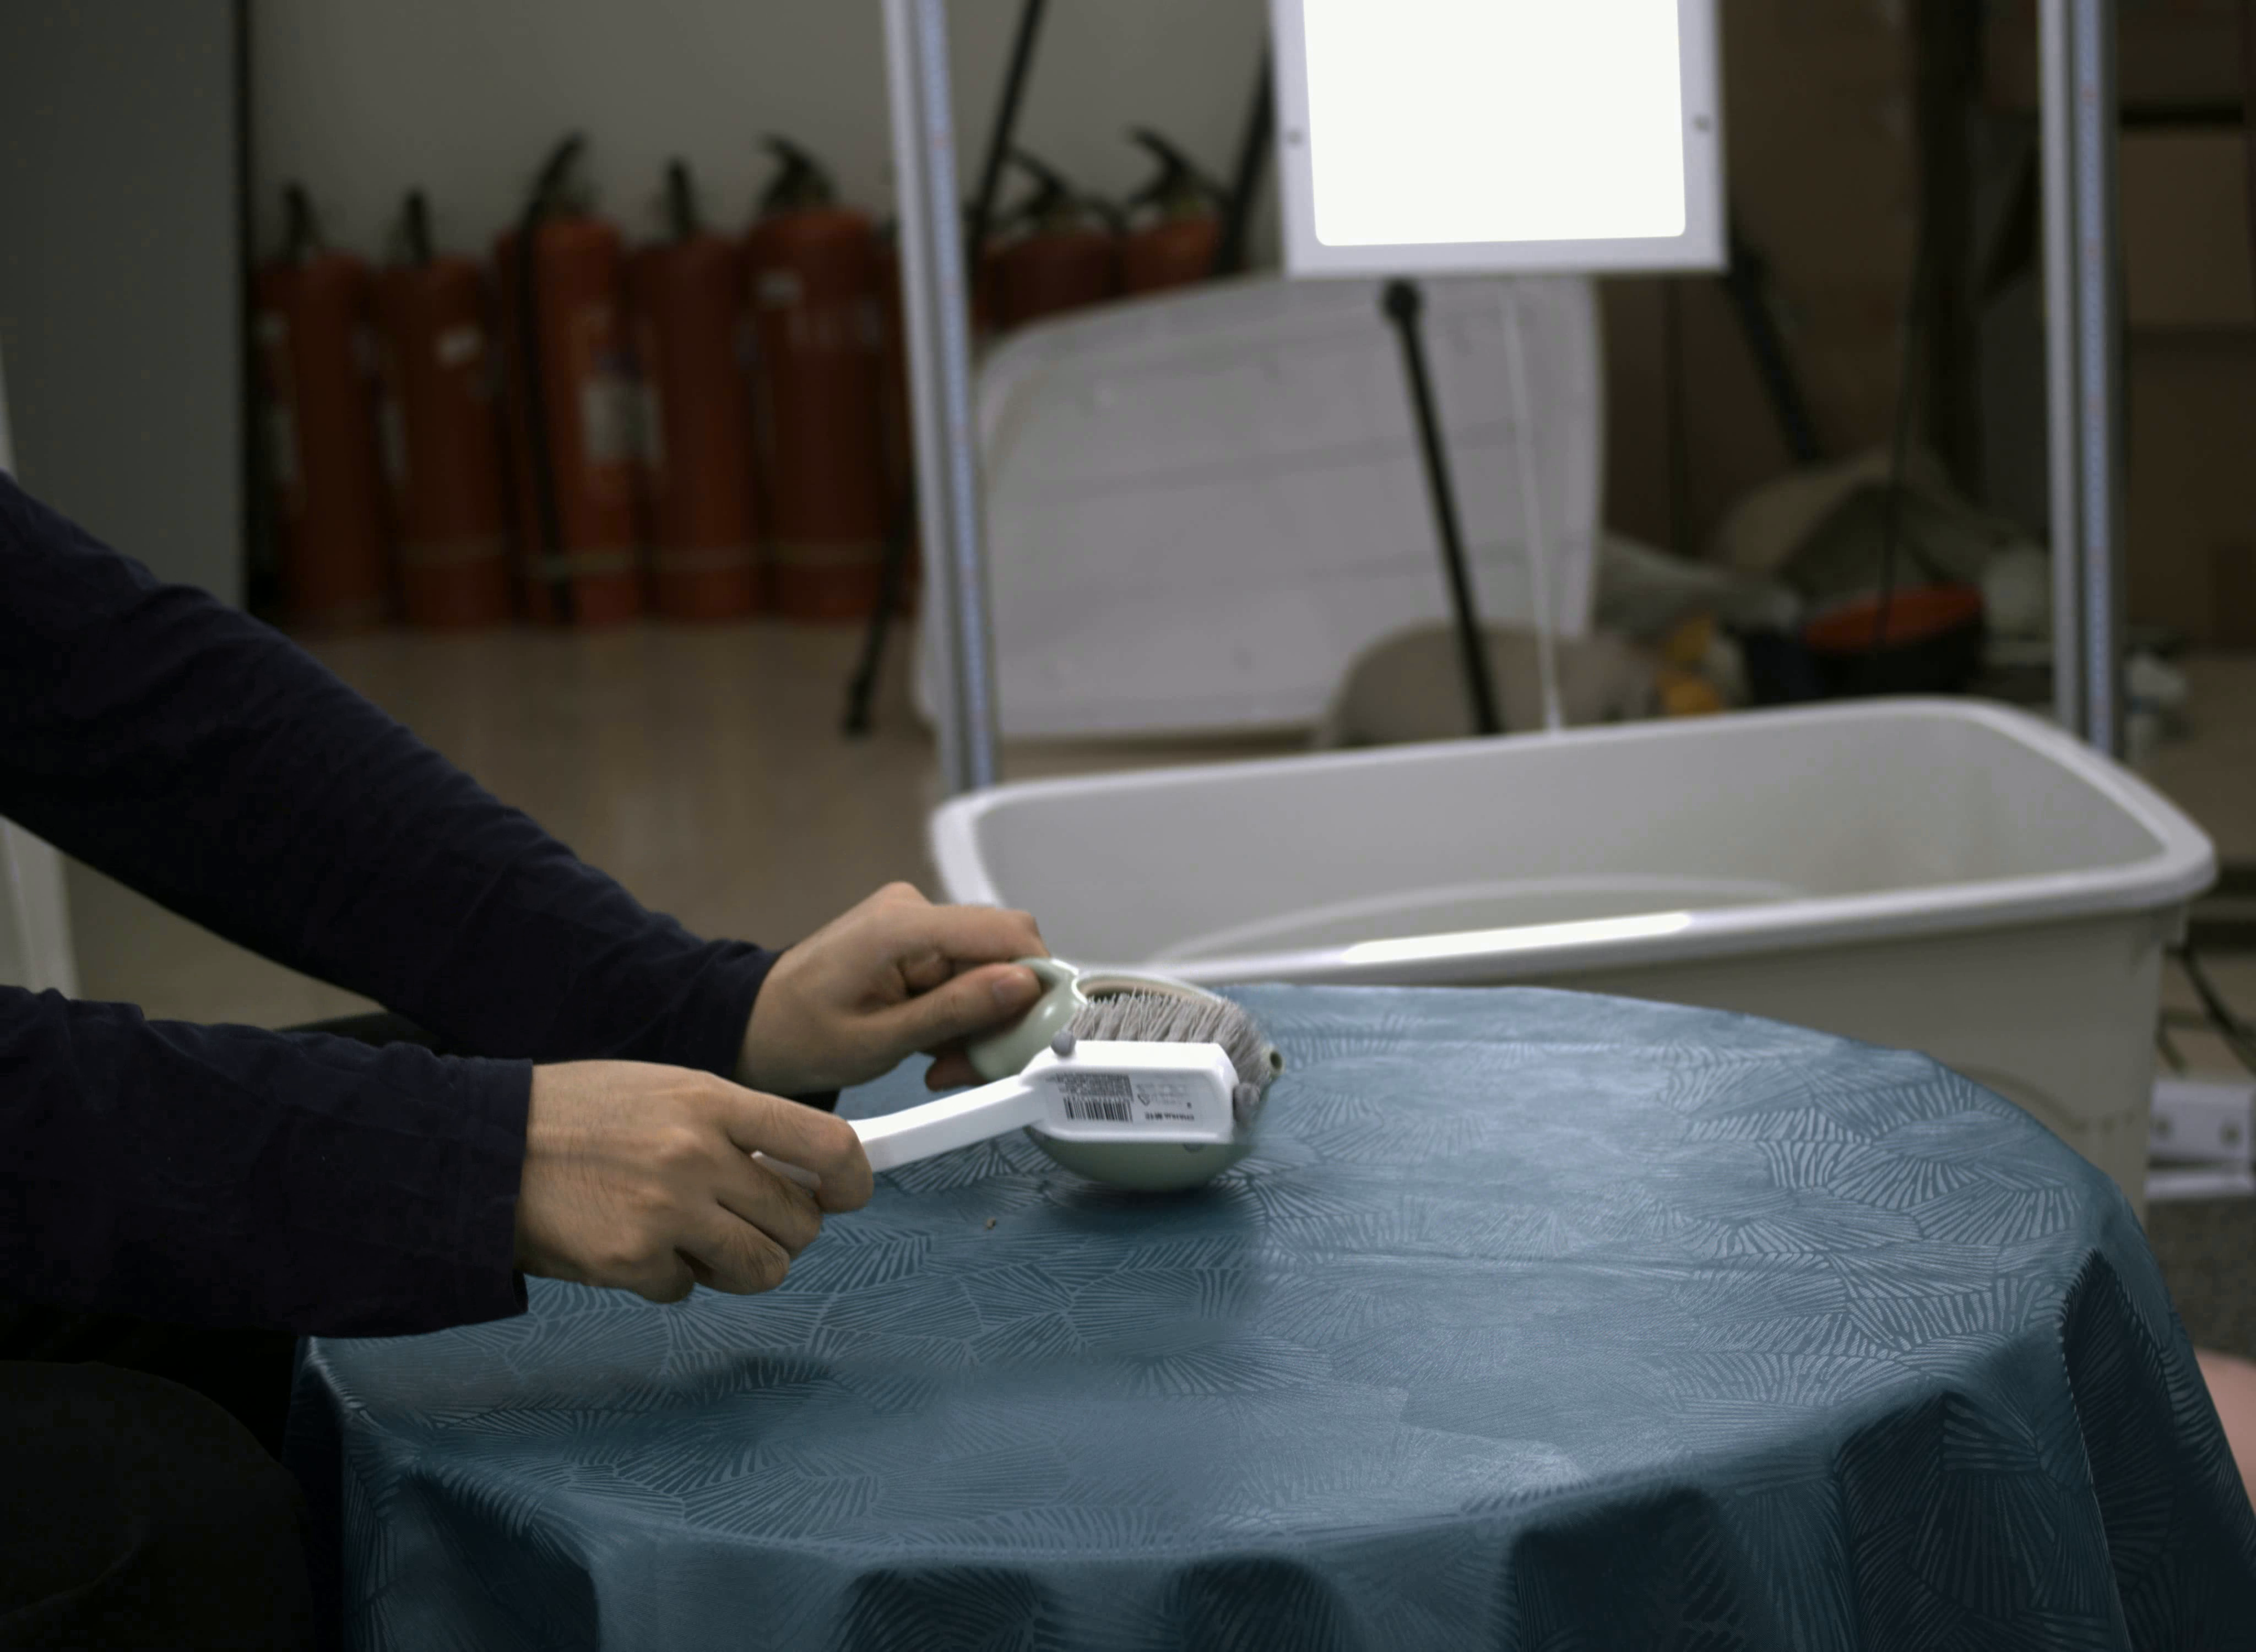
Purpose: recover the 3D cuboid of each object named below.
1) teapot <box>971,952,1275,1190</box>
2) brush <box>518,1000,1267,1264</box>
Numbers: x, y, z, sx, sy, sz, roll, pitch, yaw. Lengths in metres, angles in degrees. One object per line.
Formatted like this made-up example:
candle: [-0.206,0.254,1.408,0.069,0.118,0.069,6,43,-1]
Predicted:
teapot: [-0.004,0.084,1.903,0.131,0.061,0.089,23,24,36]
brush: [-0.076,0.096,1.754,0.245,0.034,0.050,-11,39,10]
